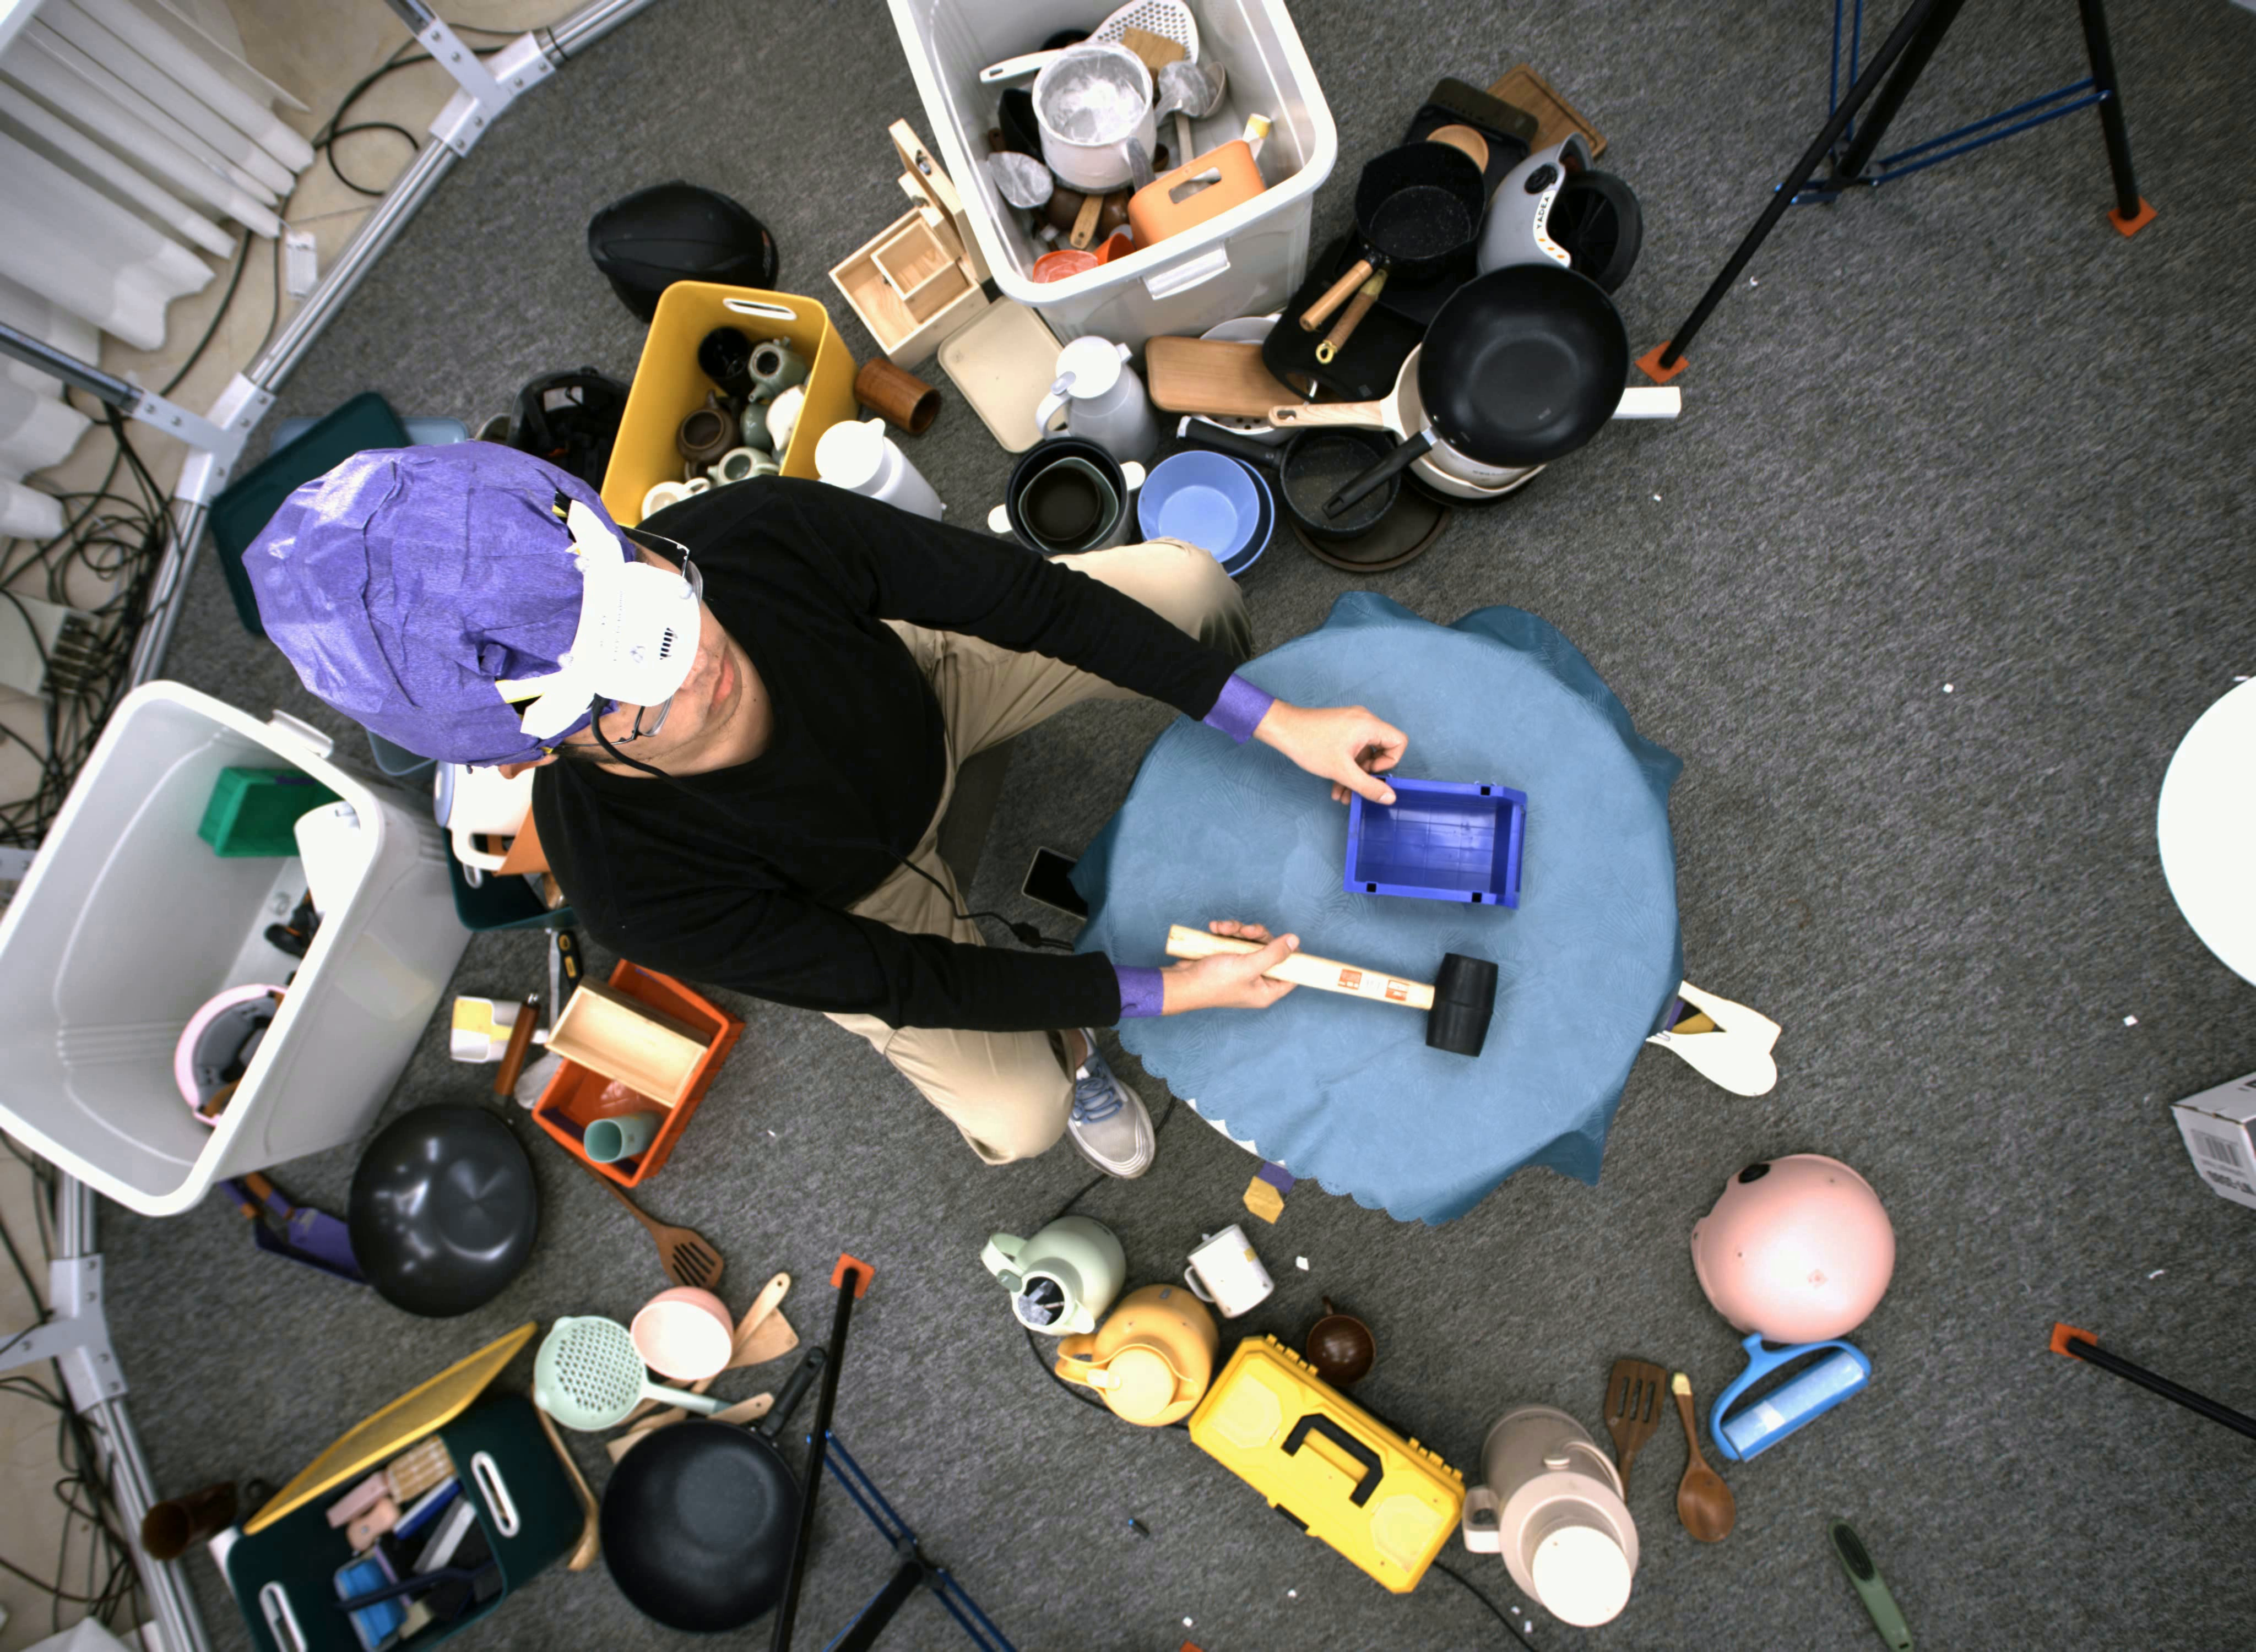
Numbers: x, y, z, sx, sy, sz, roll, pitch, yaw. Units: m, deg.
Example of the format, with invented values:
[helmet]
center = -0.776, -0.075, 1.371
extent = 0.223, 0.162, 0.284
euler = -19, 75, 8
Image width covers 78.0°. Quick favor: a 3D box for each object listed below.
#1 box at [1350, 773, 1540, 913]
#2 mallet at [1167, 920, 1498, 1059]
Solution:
[box]
center = 0.326, 0.015, 1.412
extent = 0.180, 0.082, 0.124
euler = 6, 88, 14
[mallet]
center = 0.207, 0.150, 1.416
extent = 0.339, 0.064, 0.101
euler = 14, 85, 2
